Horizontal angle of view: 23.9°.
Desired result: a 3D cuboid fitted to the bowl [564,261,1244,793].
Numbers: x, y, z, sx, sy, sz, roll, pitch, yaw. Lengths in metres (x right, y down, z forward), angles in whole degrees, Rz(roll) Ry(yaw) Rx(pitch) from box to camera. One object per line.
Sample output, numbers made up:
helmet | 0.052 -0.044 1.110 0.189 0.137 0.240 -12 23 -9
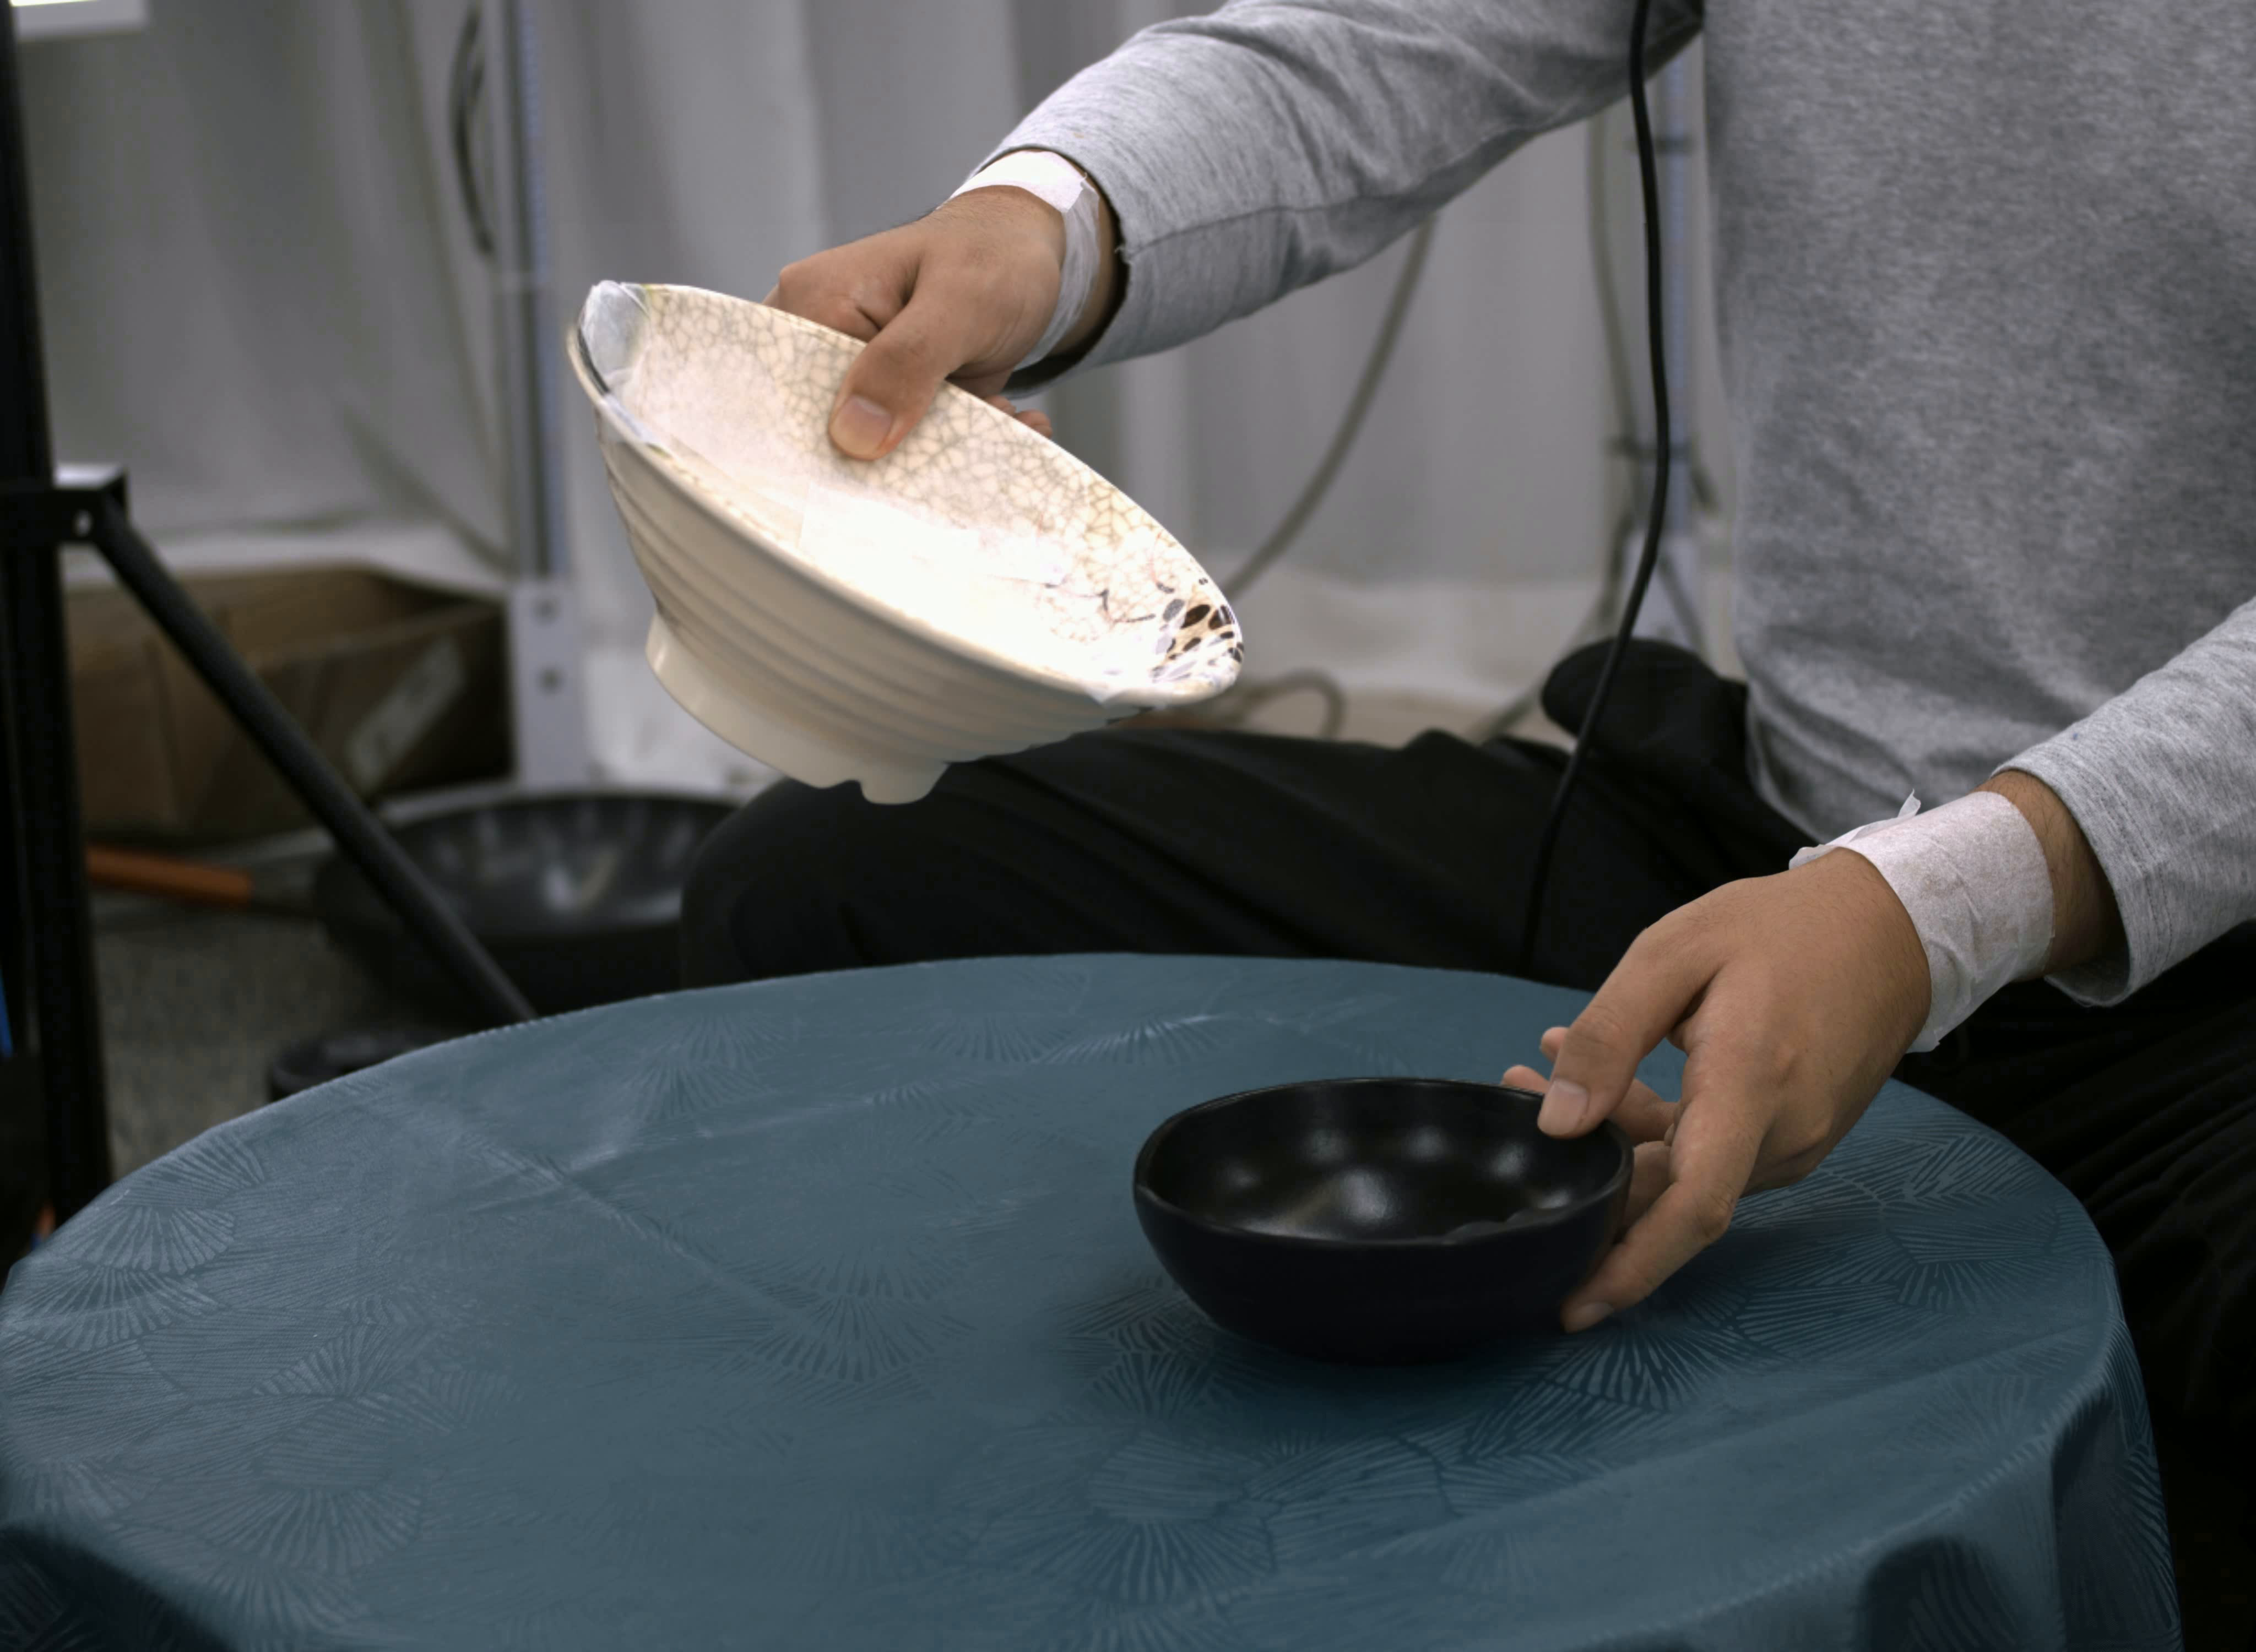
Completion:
bowl | -0.075 -0.065 1.433 0.201 0.078 0.205 25 20 -11

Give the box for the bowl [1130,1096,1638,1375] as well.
bowl | 0.069 0.116 1.445 0.139 0.050 0.140 1 13 -2
